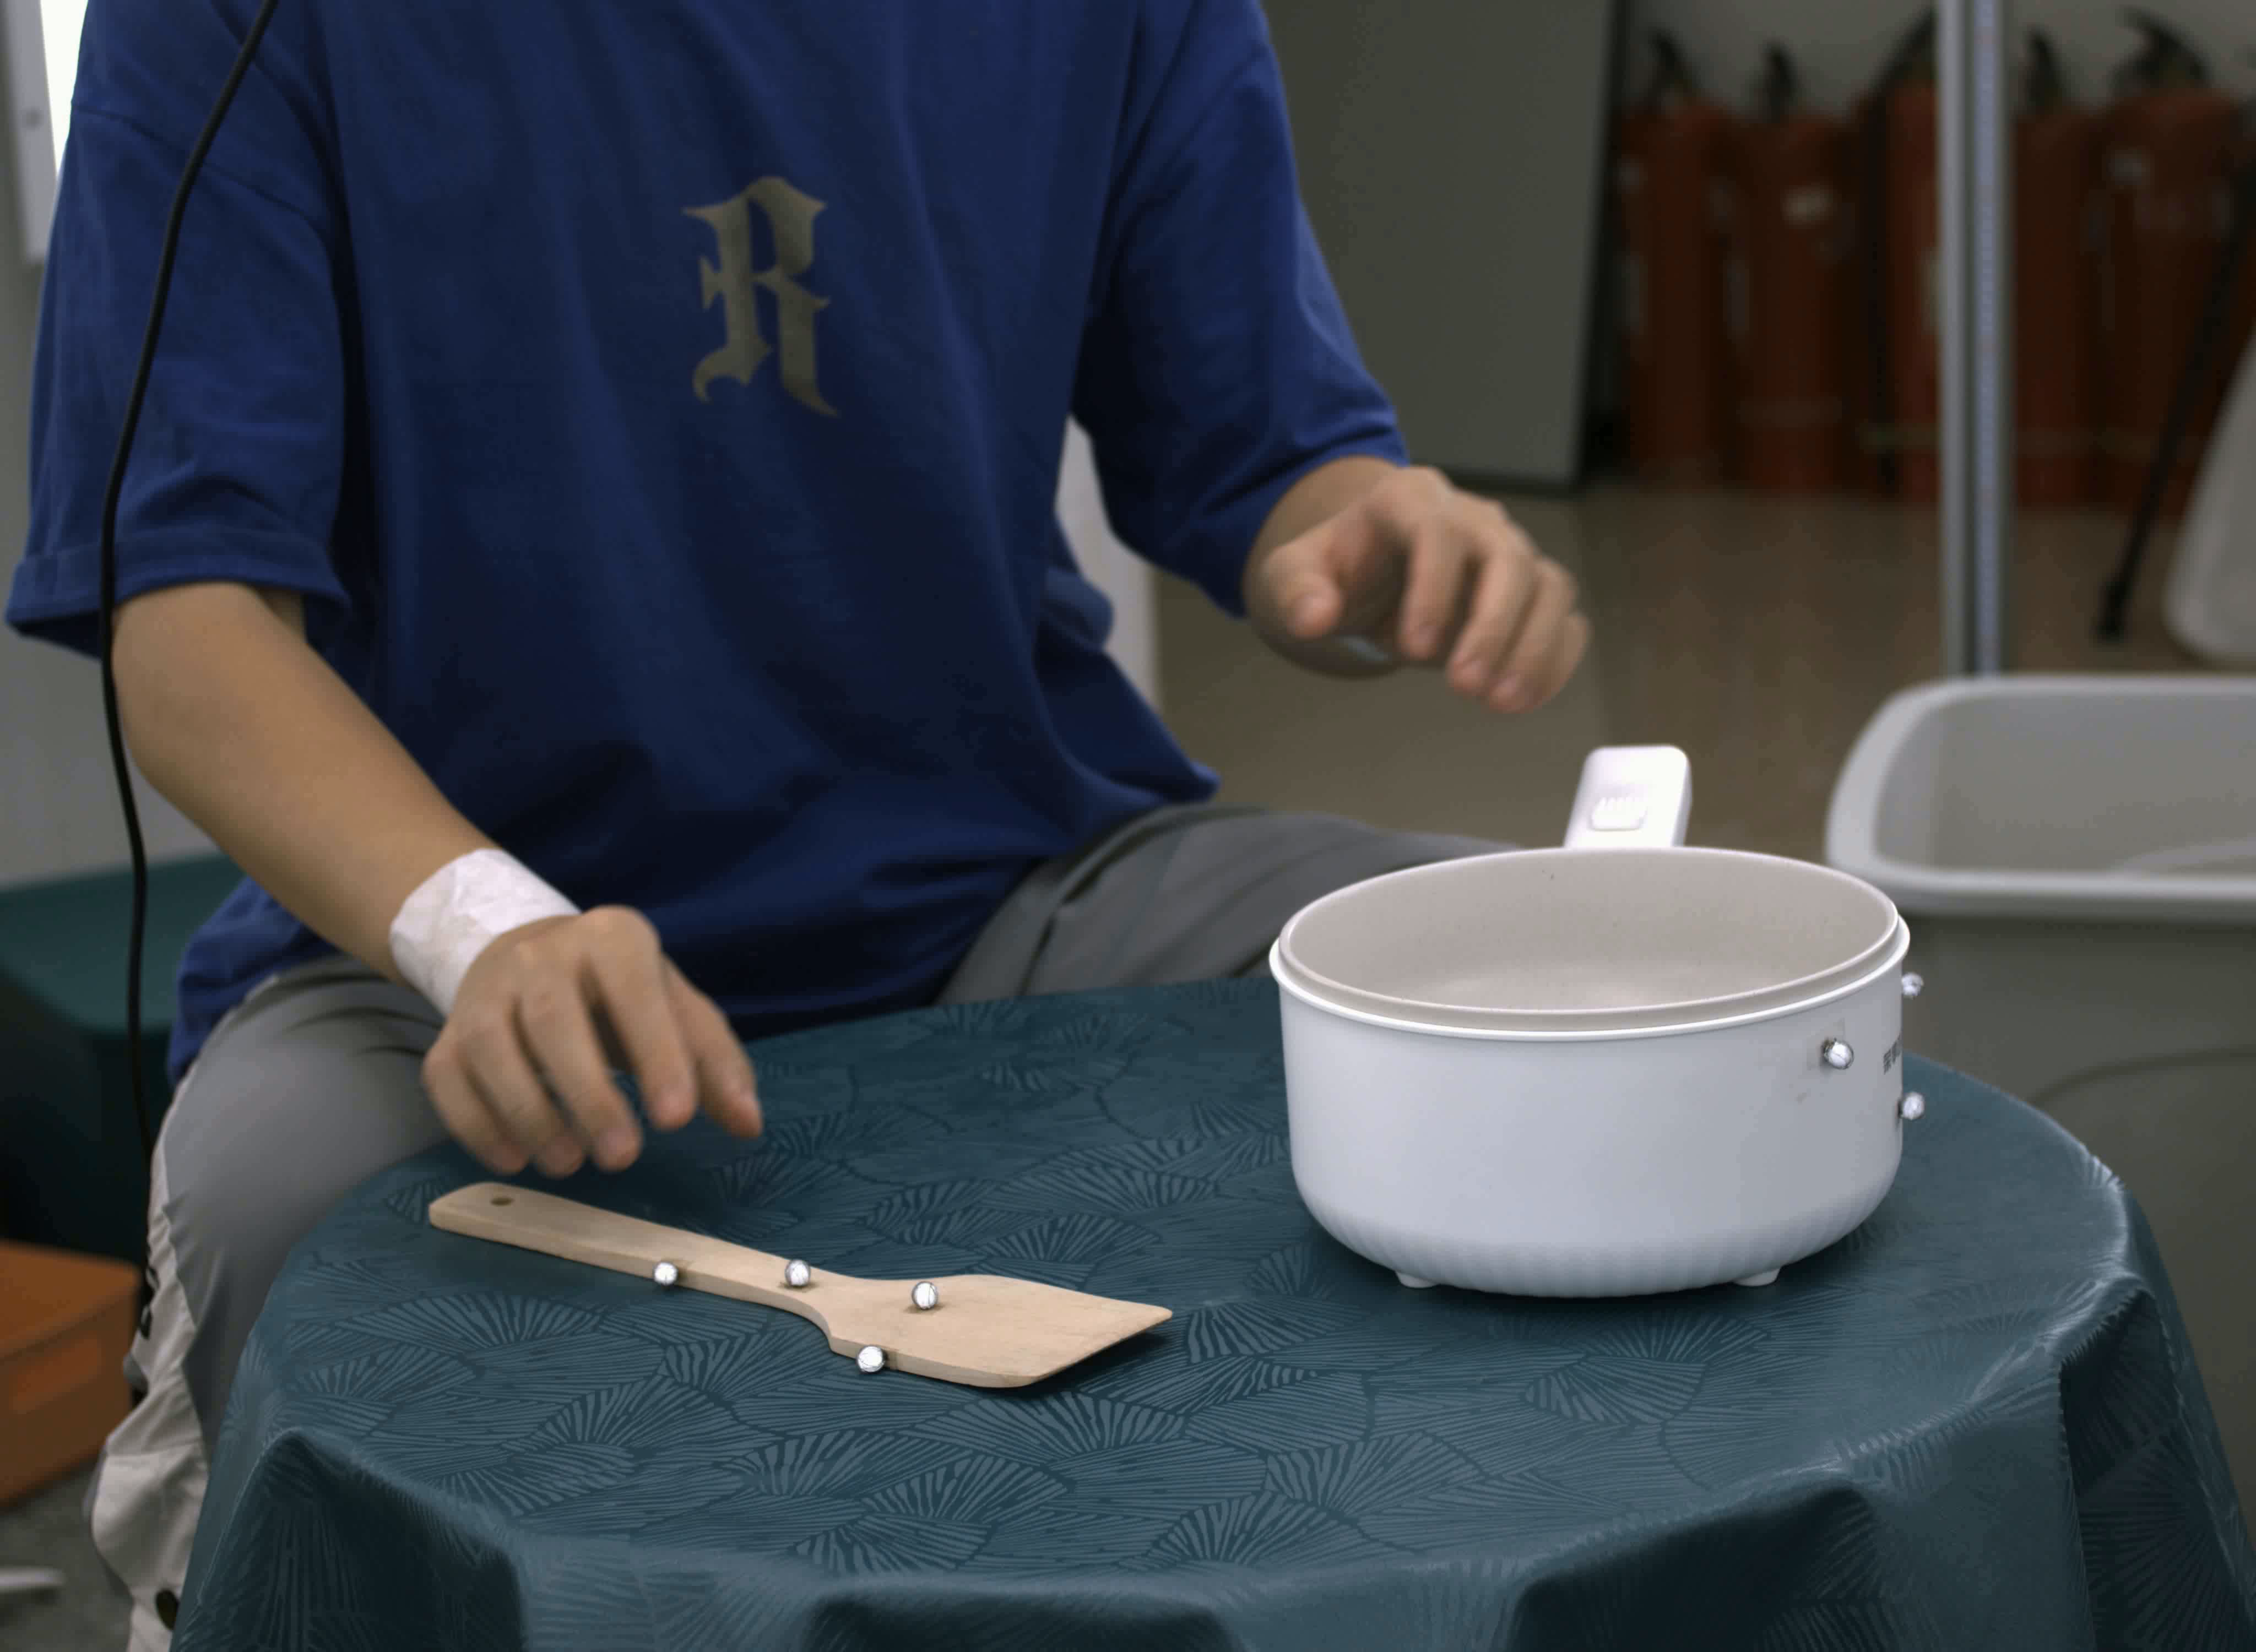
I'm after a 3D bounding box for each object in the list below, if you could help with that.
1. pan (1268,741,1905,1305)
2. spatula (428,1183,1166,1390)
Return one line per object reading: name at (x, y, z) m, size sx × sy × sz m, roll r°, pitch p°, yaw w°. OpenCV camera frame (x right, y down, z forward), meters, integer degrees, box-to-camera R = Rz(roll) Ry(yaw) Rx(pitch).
pan at (0.158, 0.060, 1.765) m, size 0.200 × 0.103 × 0.353 m, roll -3°, pitch 14°, yaw 10°
spatula at (-0.117, 0.142, 1.701) m, size 0.295 × 0.011 × 0.071 m, roll 9°, pitch 20°, yaw 41°
